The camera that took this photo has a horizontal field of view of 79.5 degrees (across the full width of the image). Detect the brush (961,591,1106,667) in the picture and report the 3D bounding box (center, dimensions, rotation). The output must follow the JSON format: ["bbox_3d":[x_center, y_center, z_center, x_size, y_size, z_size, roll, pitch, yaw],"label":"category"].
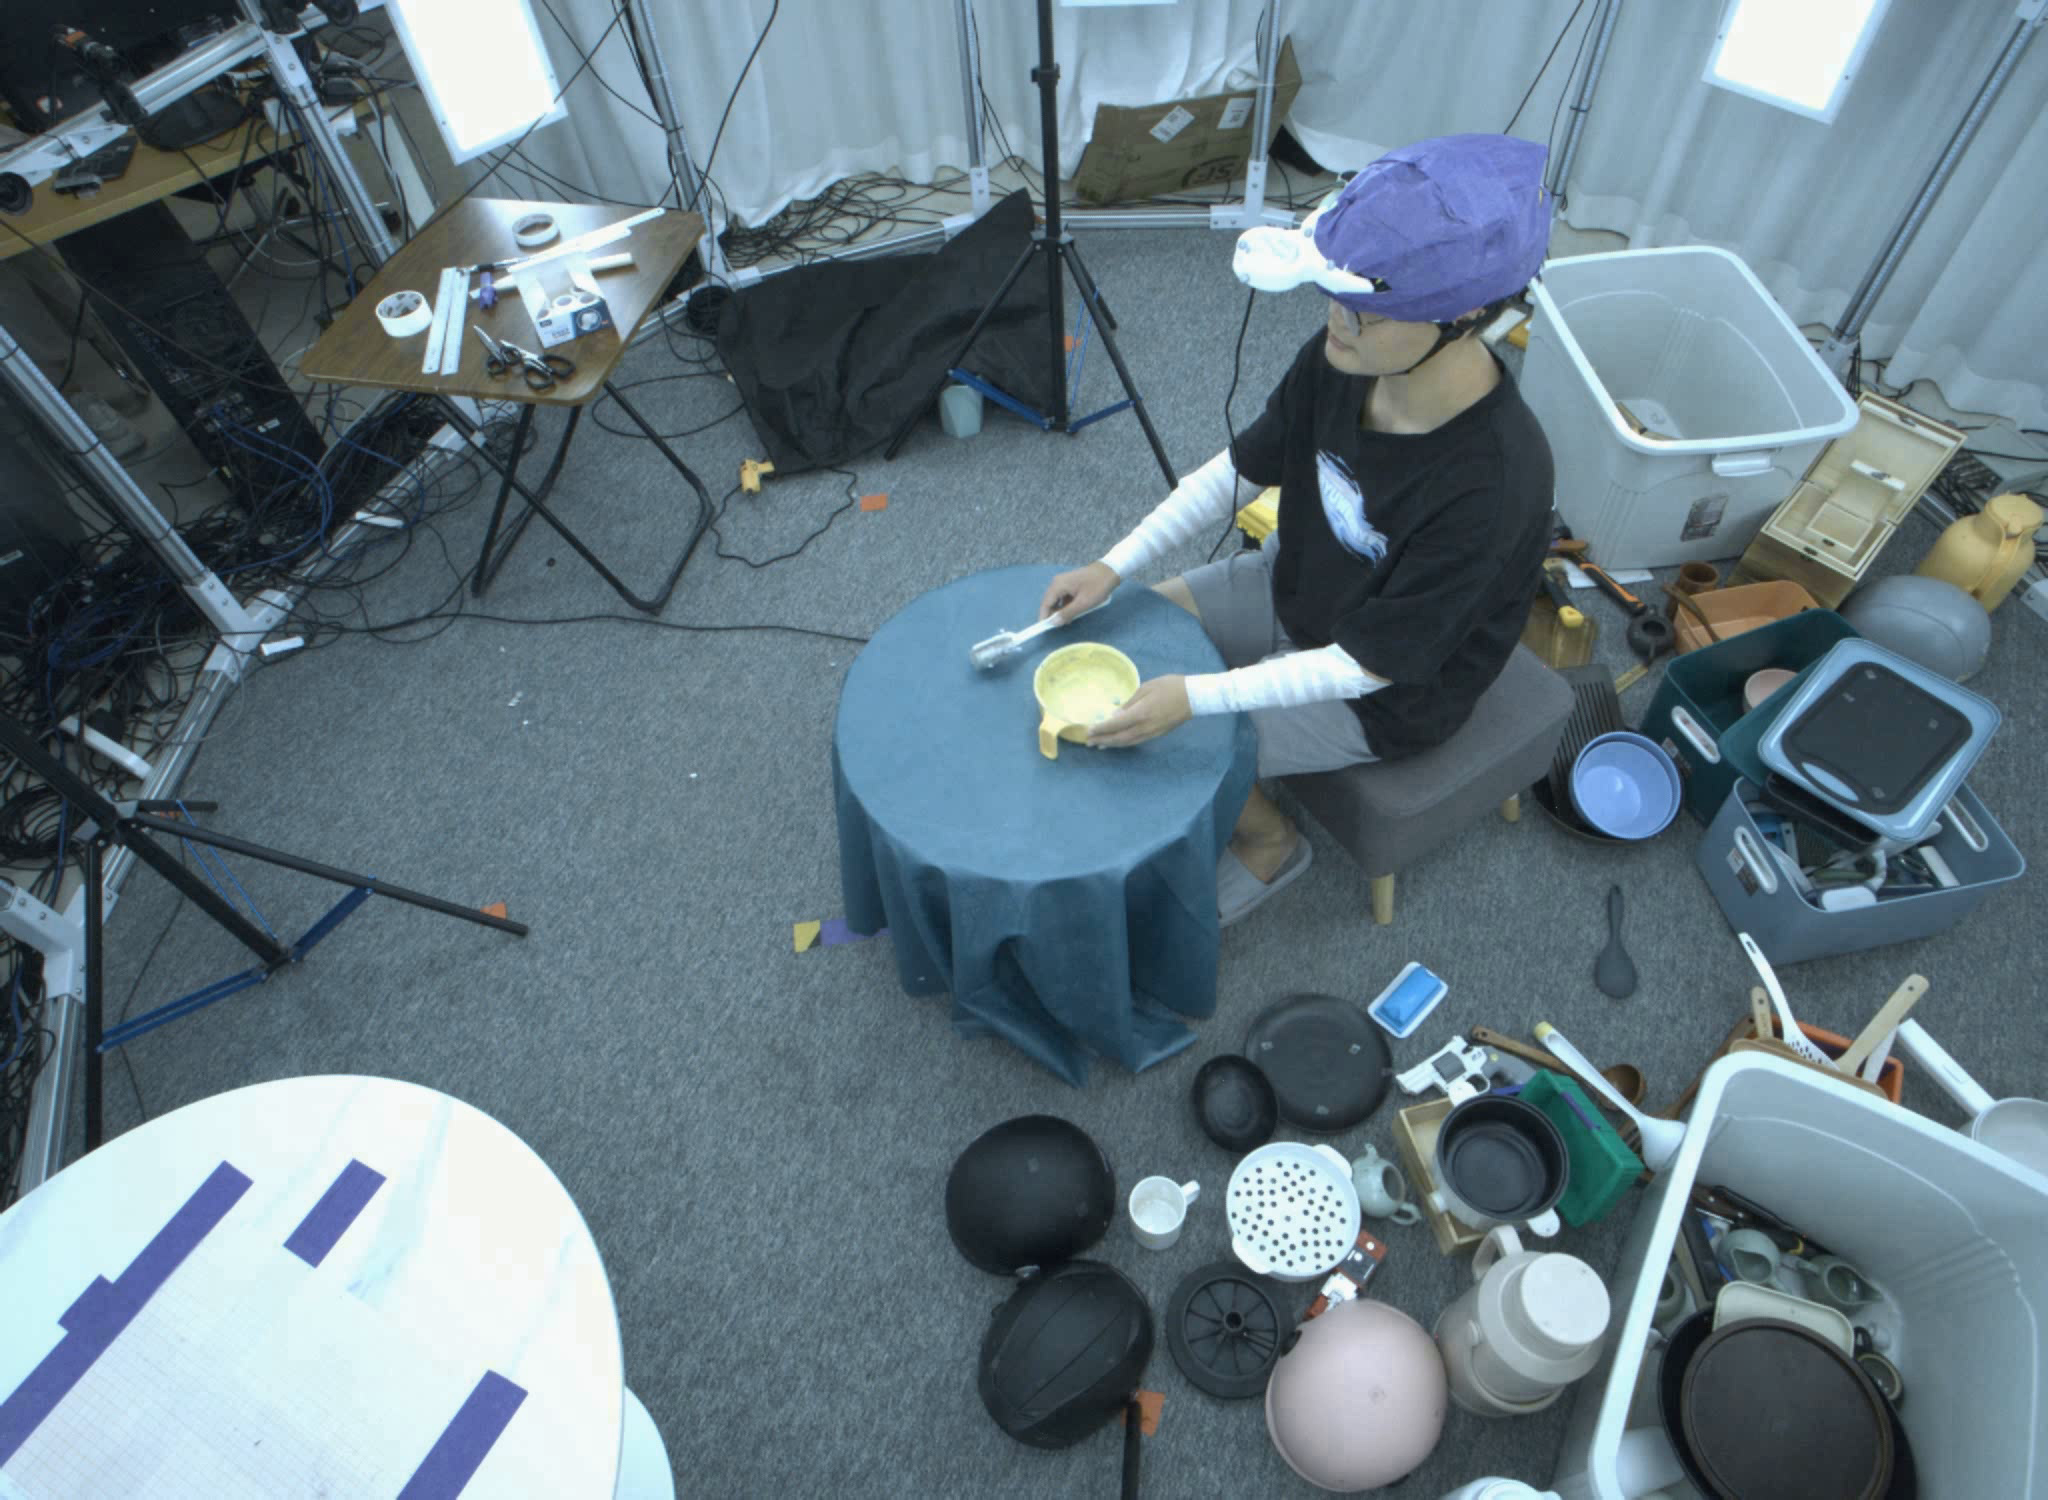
[{"bbox_3d":[0.018,-0.187,1.866,0.245,0.034,0.049,-24,13,-9],"label":"brush"}]

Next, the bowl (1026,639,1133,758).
[{"bbox_3d":[0.072,-0.073,1.785,0.151,0.075,0.180,28,61,15],"label":"bowl"}]
